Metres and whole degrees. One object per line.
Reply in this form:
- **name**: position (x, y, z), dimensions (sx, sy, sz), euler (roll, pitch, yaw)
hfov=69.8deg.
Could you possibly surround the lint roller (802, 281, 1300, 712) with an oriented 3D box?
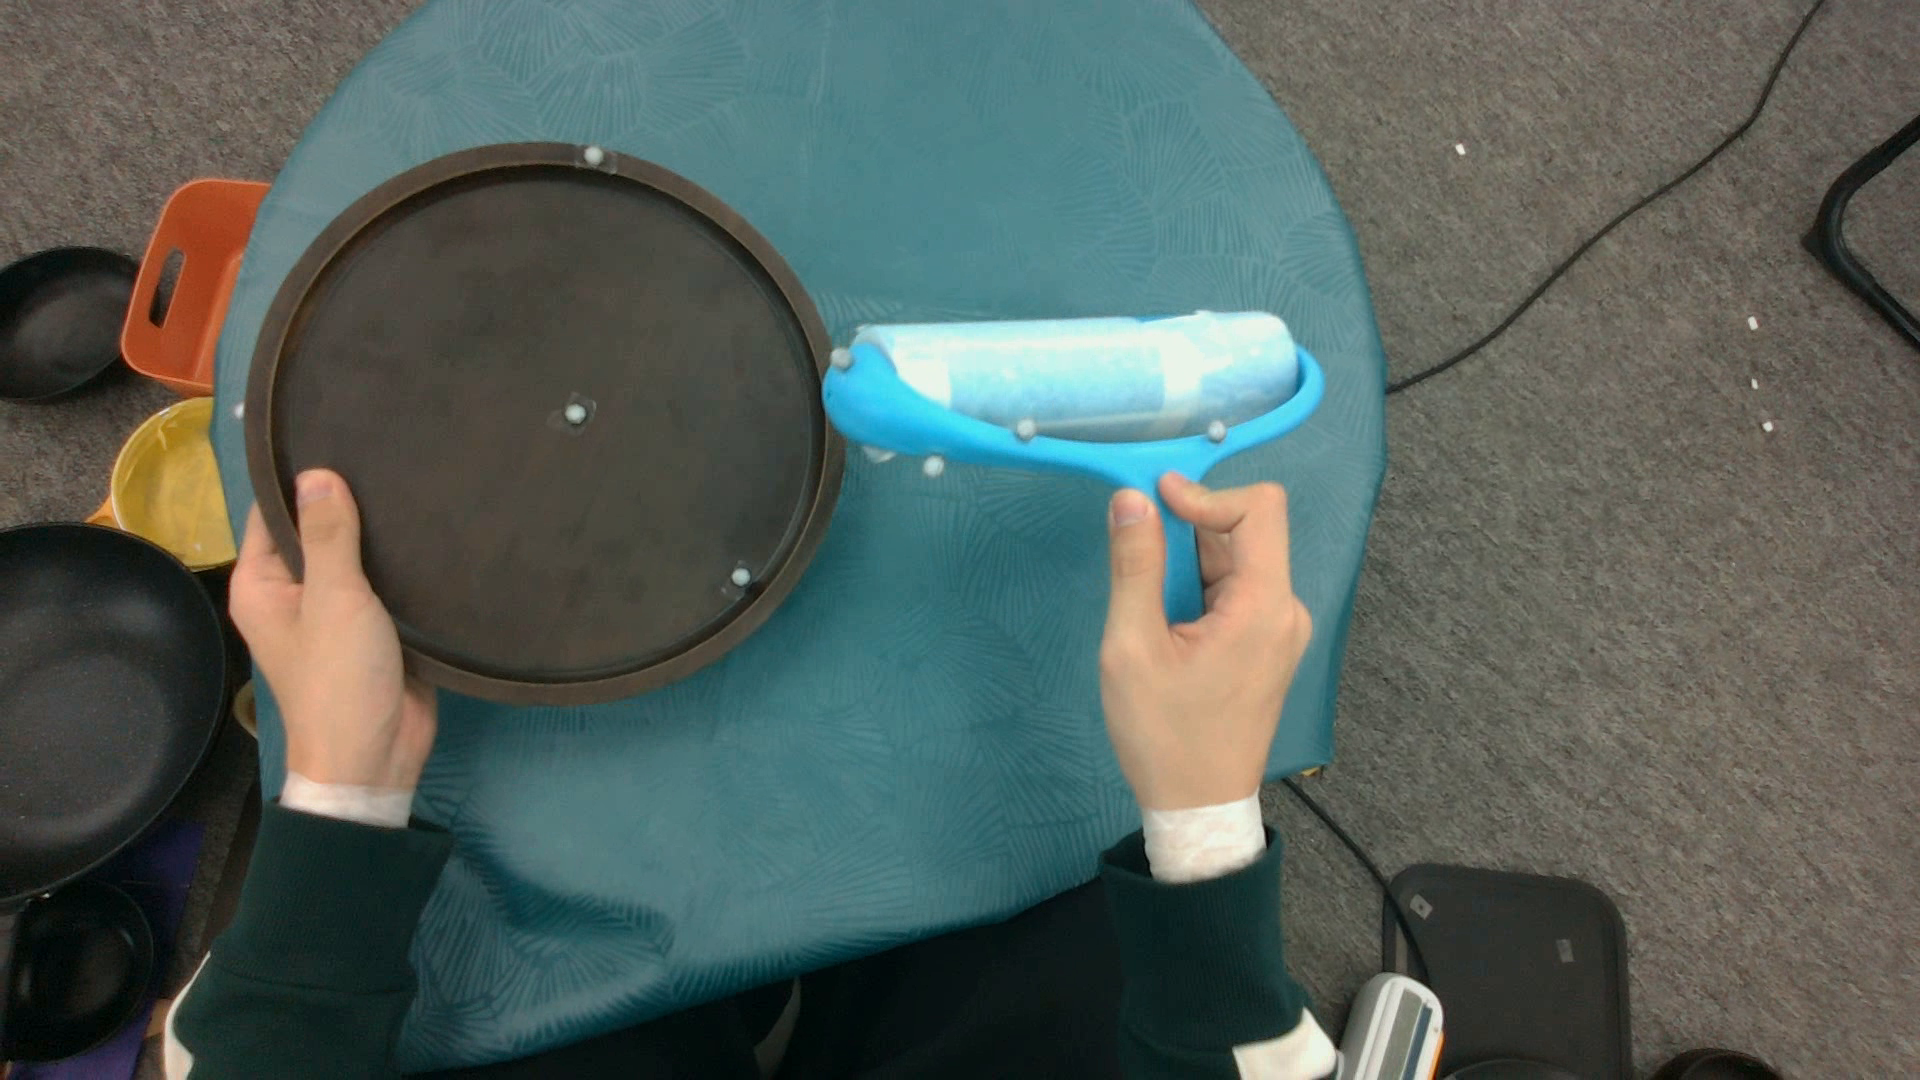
- **lint roller**: position (0.062, -0.024, 0.562), dimensions (0.229, 0.067, 0.180), euler (-11, 70, -30)

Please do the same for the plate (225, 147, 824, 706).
- **plate**: position (-0.188, -0.052, 0.617), dimensions (0.255, 0.029, 0.255), euler (2, 80, -14)
